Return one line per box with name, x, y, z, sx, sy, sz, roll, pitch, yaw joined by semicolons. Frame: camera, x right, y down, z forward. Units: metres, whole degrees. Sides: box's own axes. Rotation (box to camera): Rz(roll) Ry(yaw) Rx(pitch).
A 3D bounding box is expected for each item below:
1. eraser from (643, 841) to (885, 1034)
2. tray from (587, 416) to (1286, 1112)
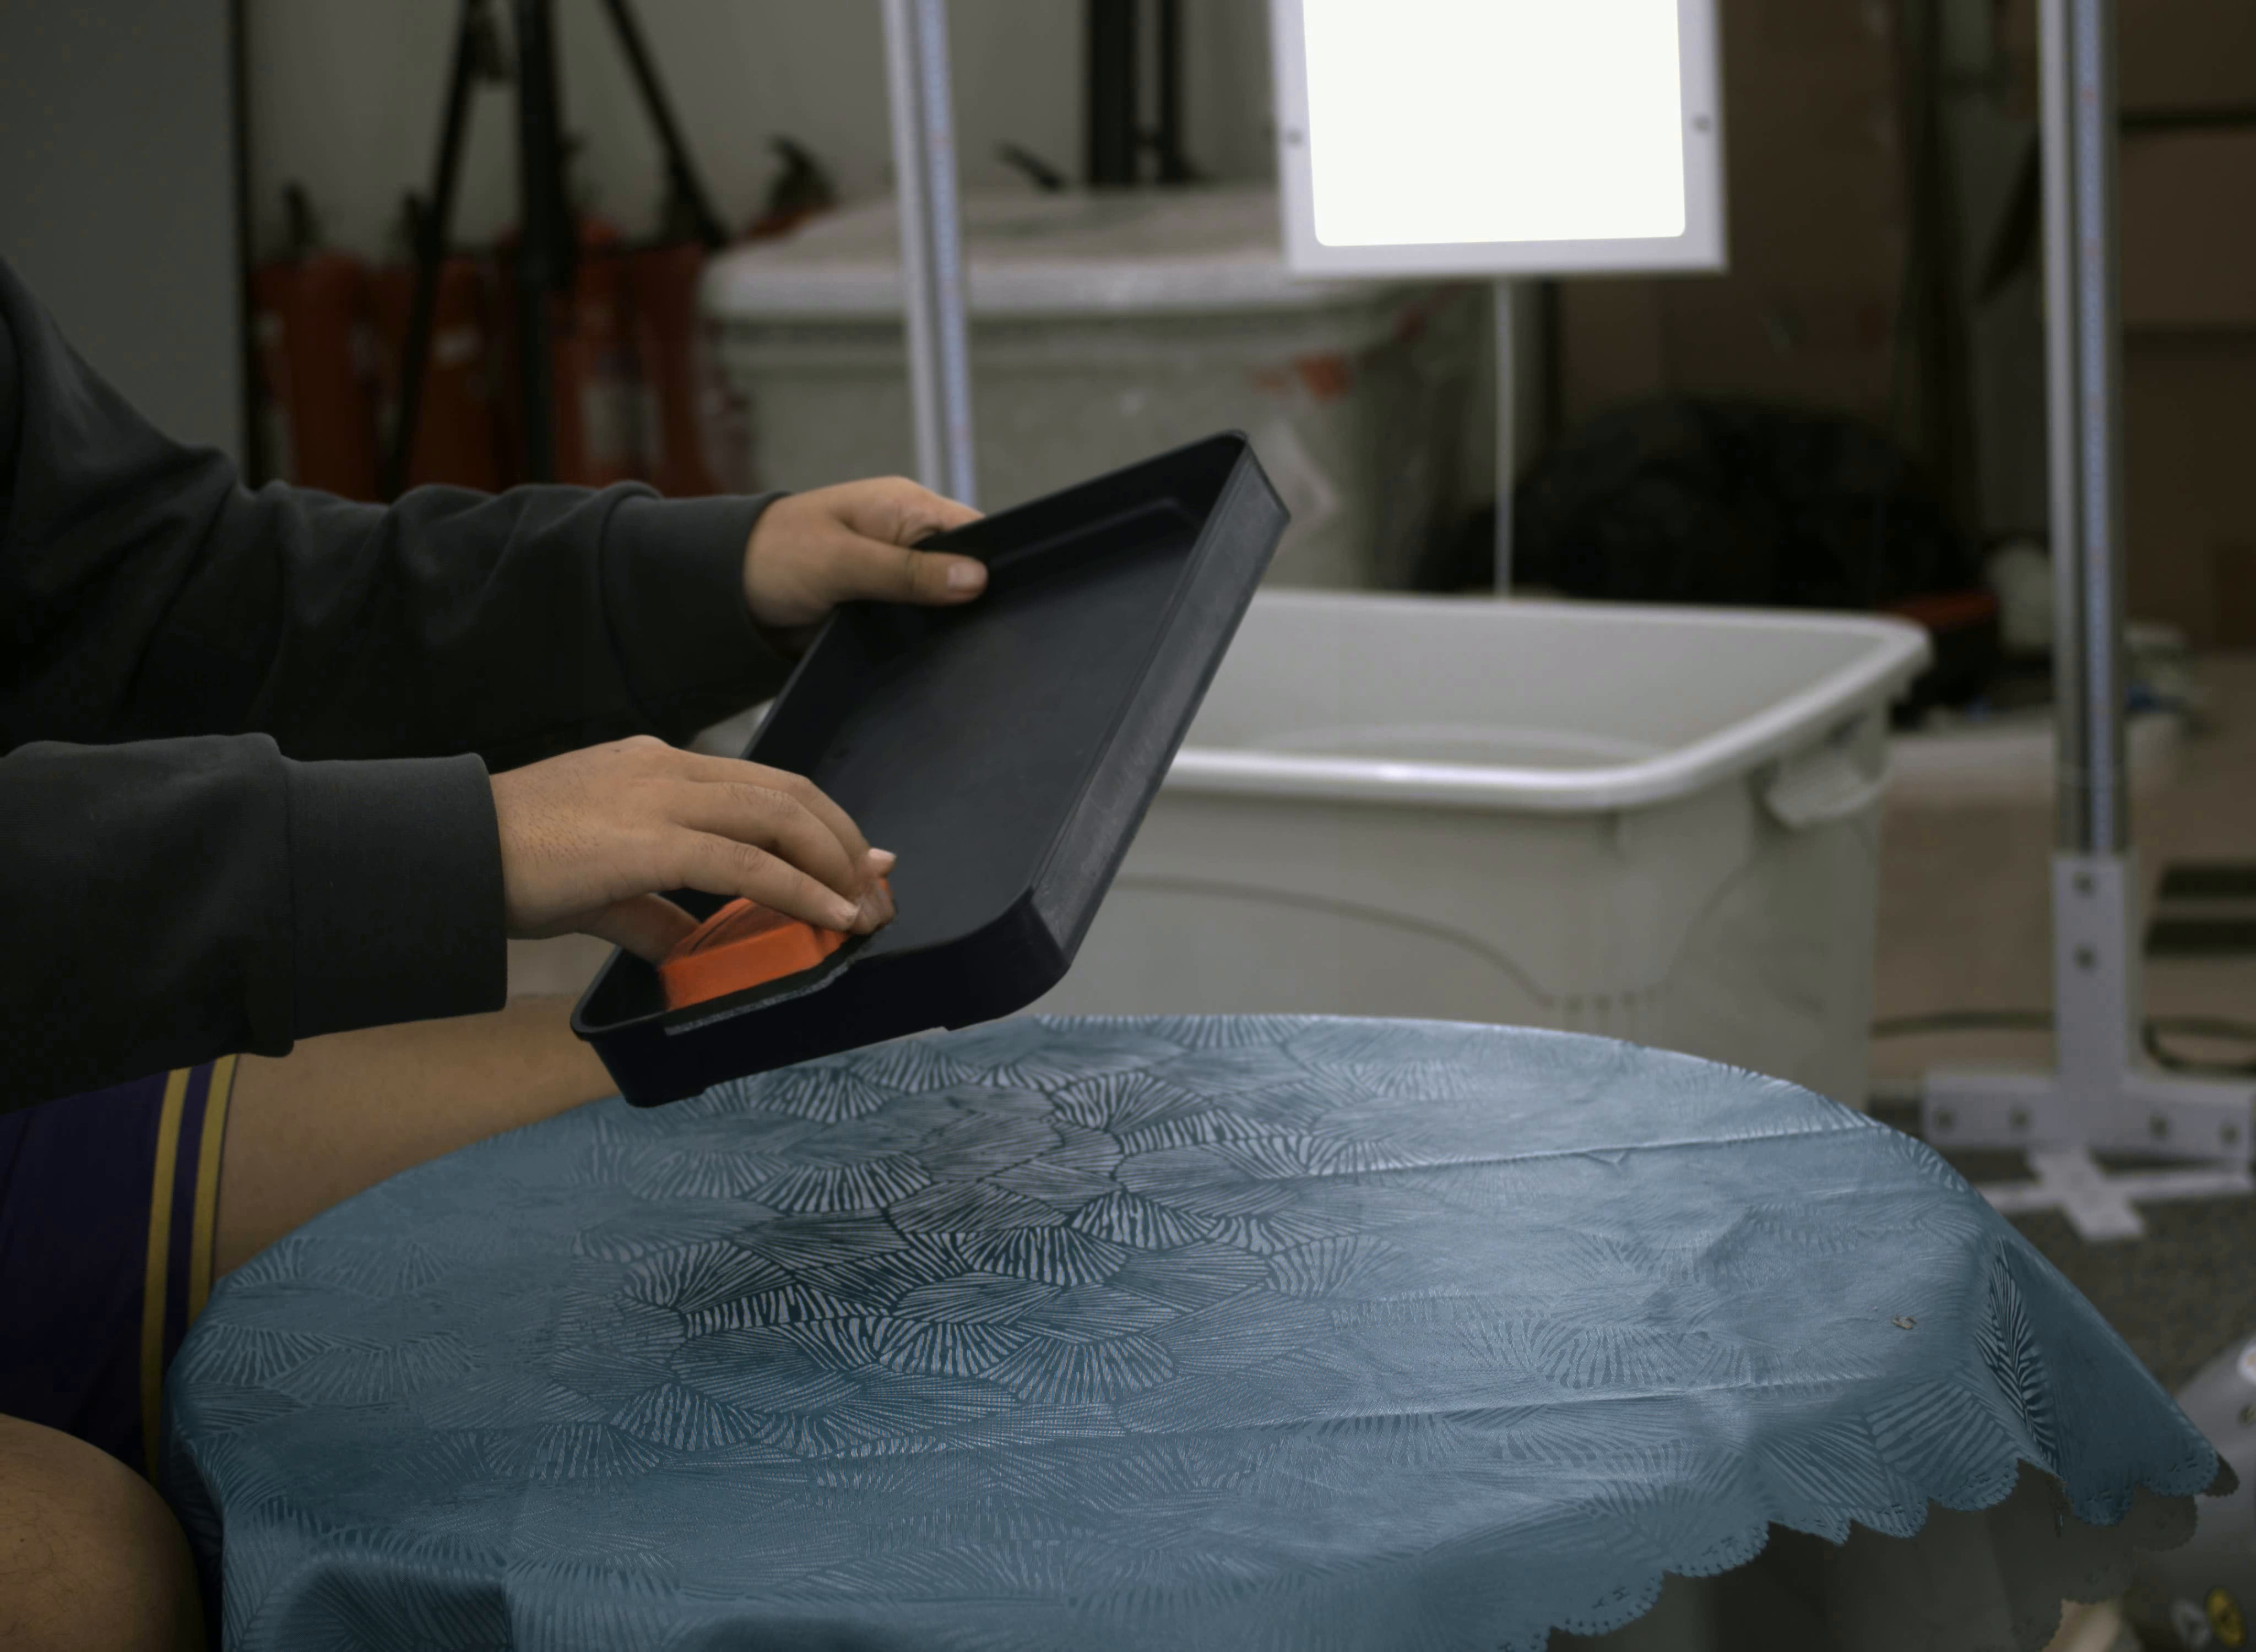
eraser;-0.117;0.035;1.789;0.059;0.023;0.107;-27;6;16
tray;-0.060;-0.025;1.912;0.188;0.037;0.313;-19;27;30
